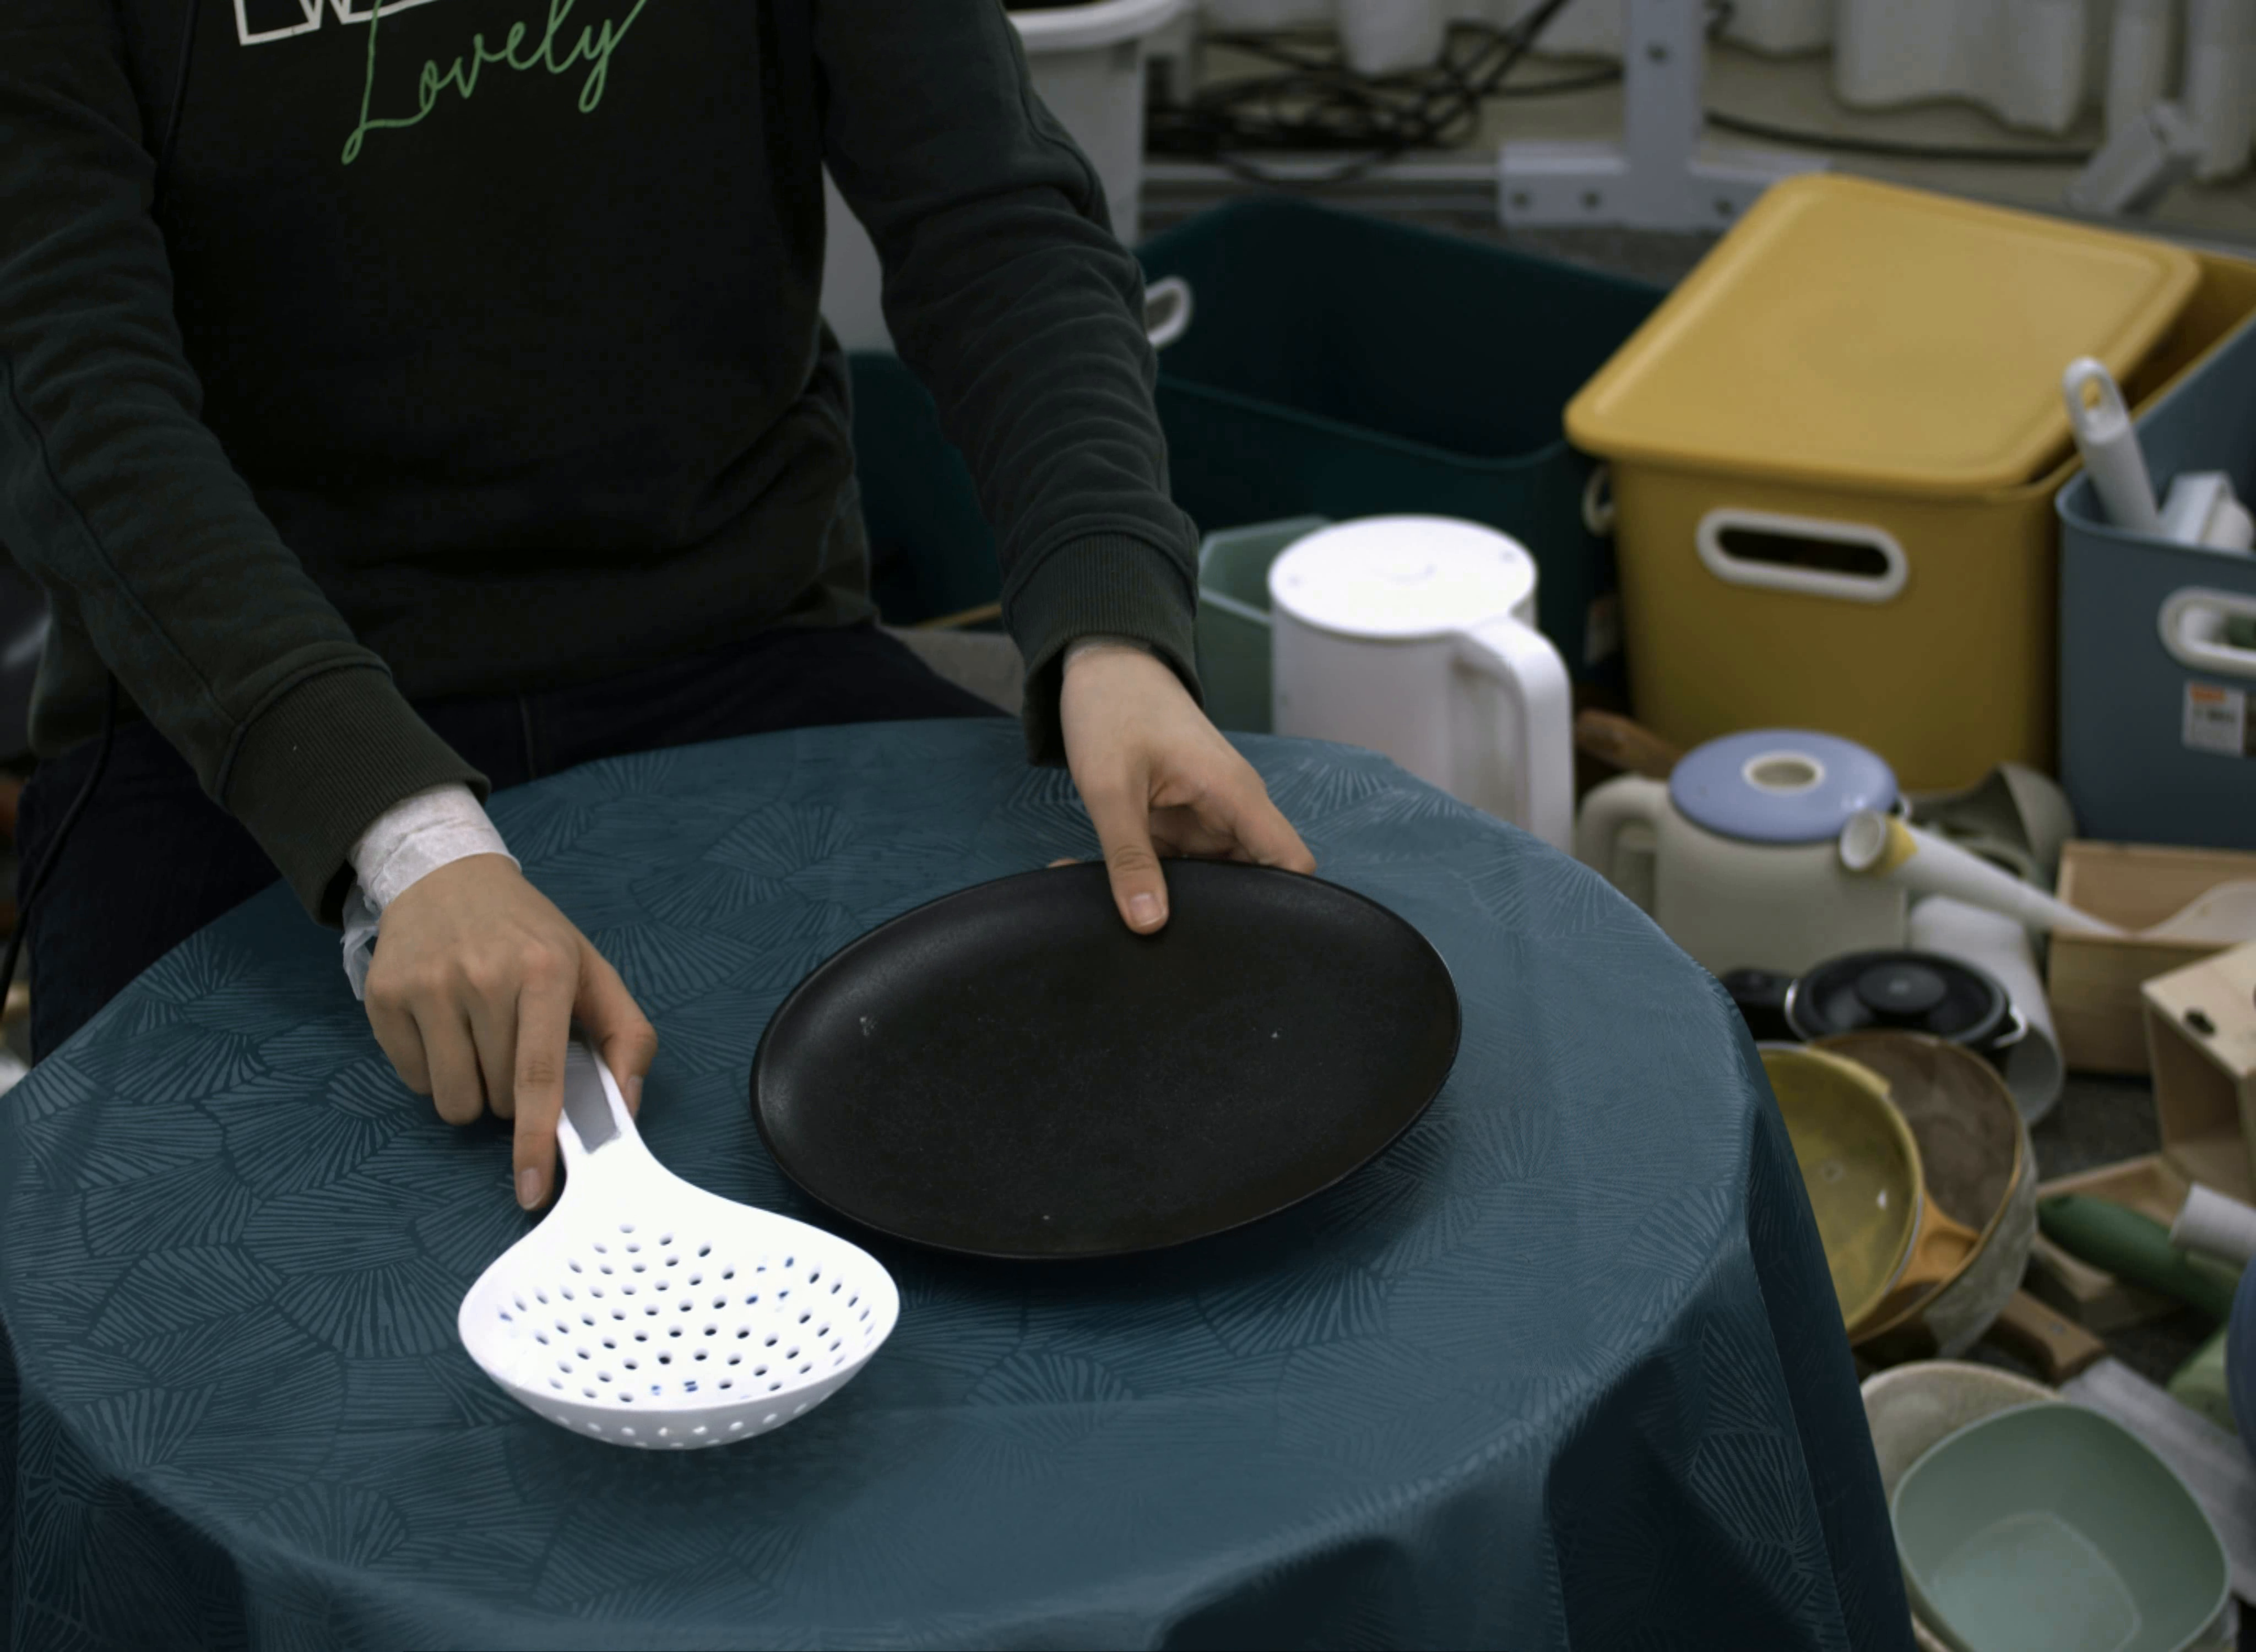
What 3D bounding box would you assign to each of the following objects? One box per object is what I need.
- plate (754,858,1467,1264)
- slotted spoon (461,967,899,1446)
[{"bbox_3d":[-0.006,0.083,1.896,0.243,0.023,0.248,-5,30,3],"label":"plate"},{"bbox_3d":[-0.167,0.118,1.836,0.136,0.045,0.353,-4,26,-15],"label":"slotted spoon"}]
